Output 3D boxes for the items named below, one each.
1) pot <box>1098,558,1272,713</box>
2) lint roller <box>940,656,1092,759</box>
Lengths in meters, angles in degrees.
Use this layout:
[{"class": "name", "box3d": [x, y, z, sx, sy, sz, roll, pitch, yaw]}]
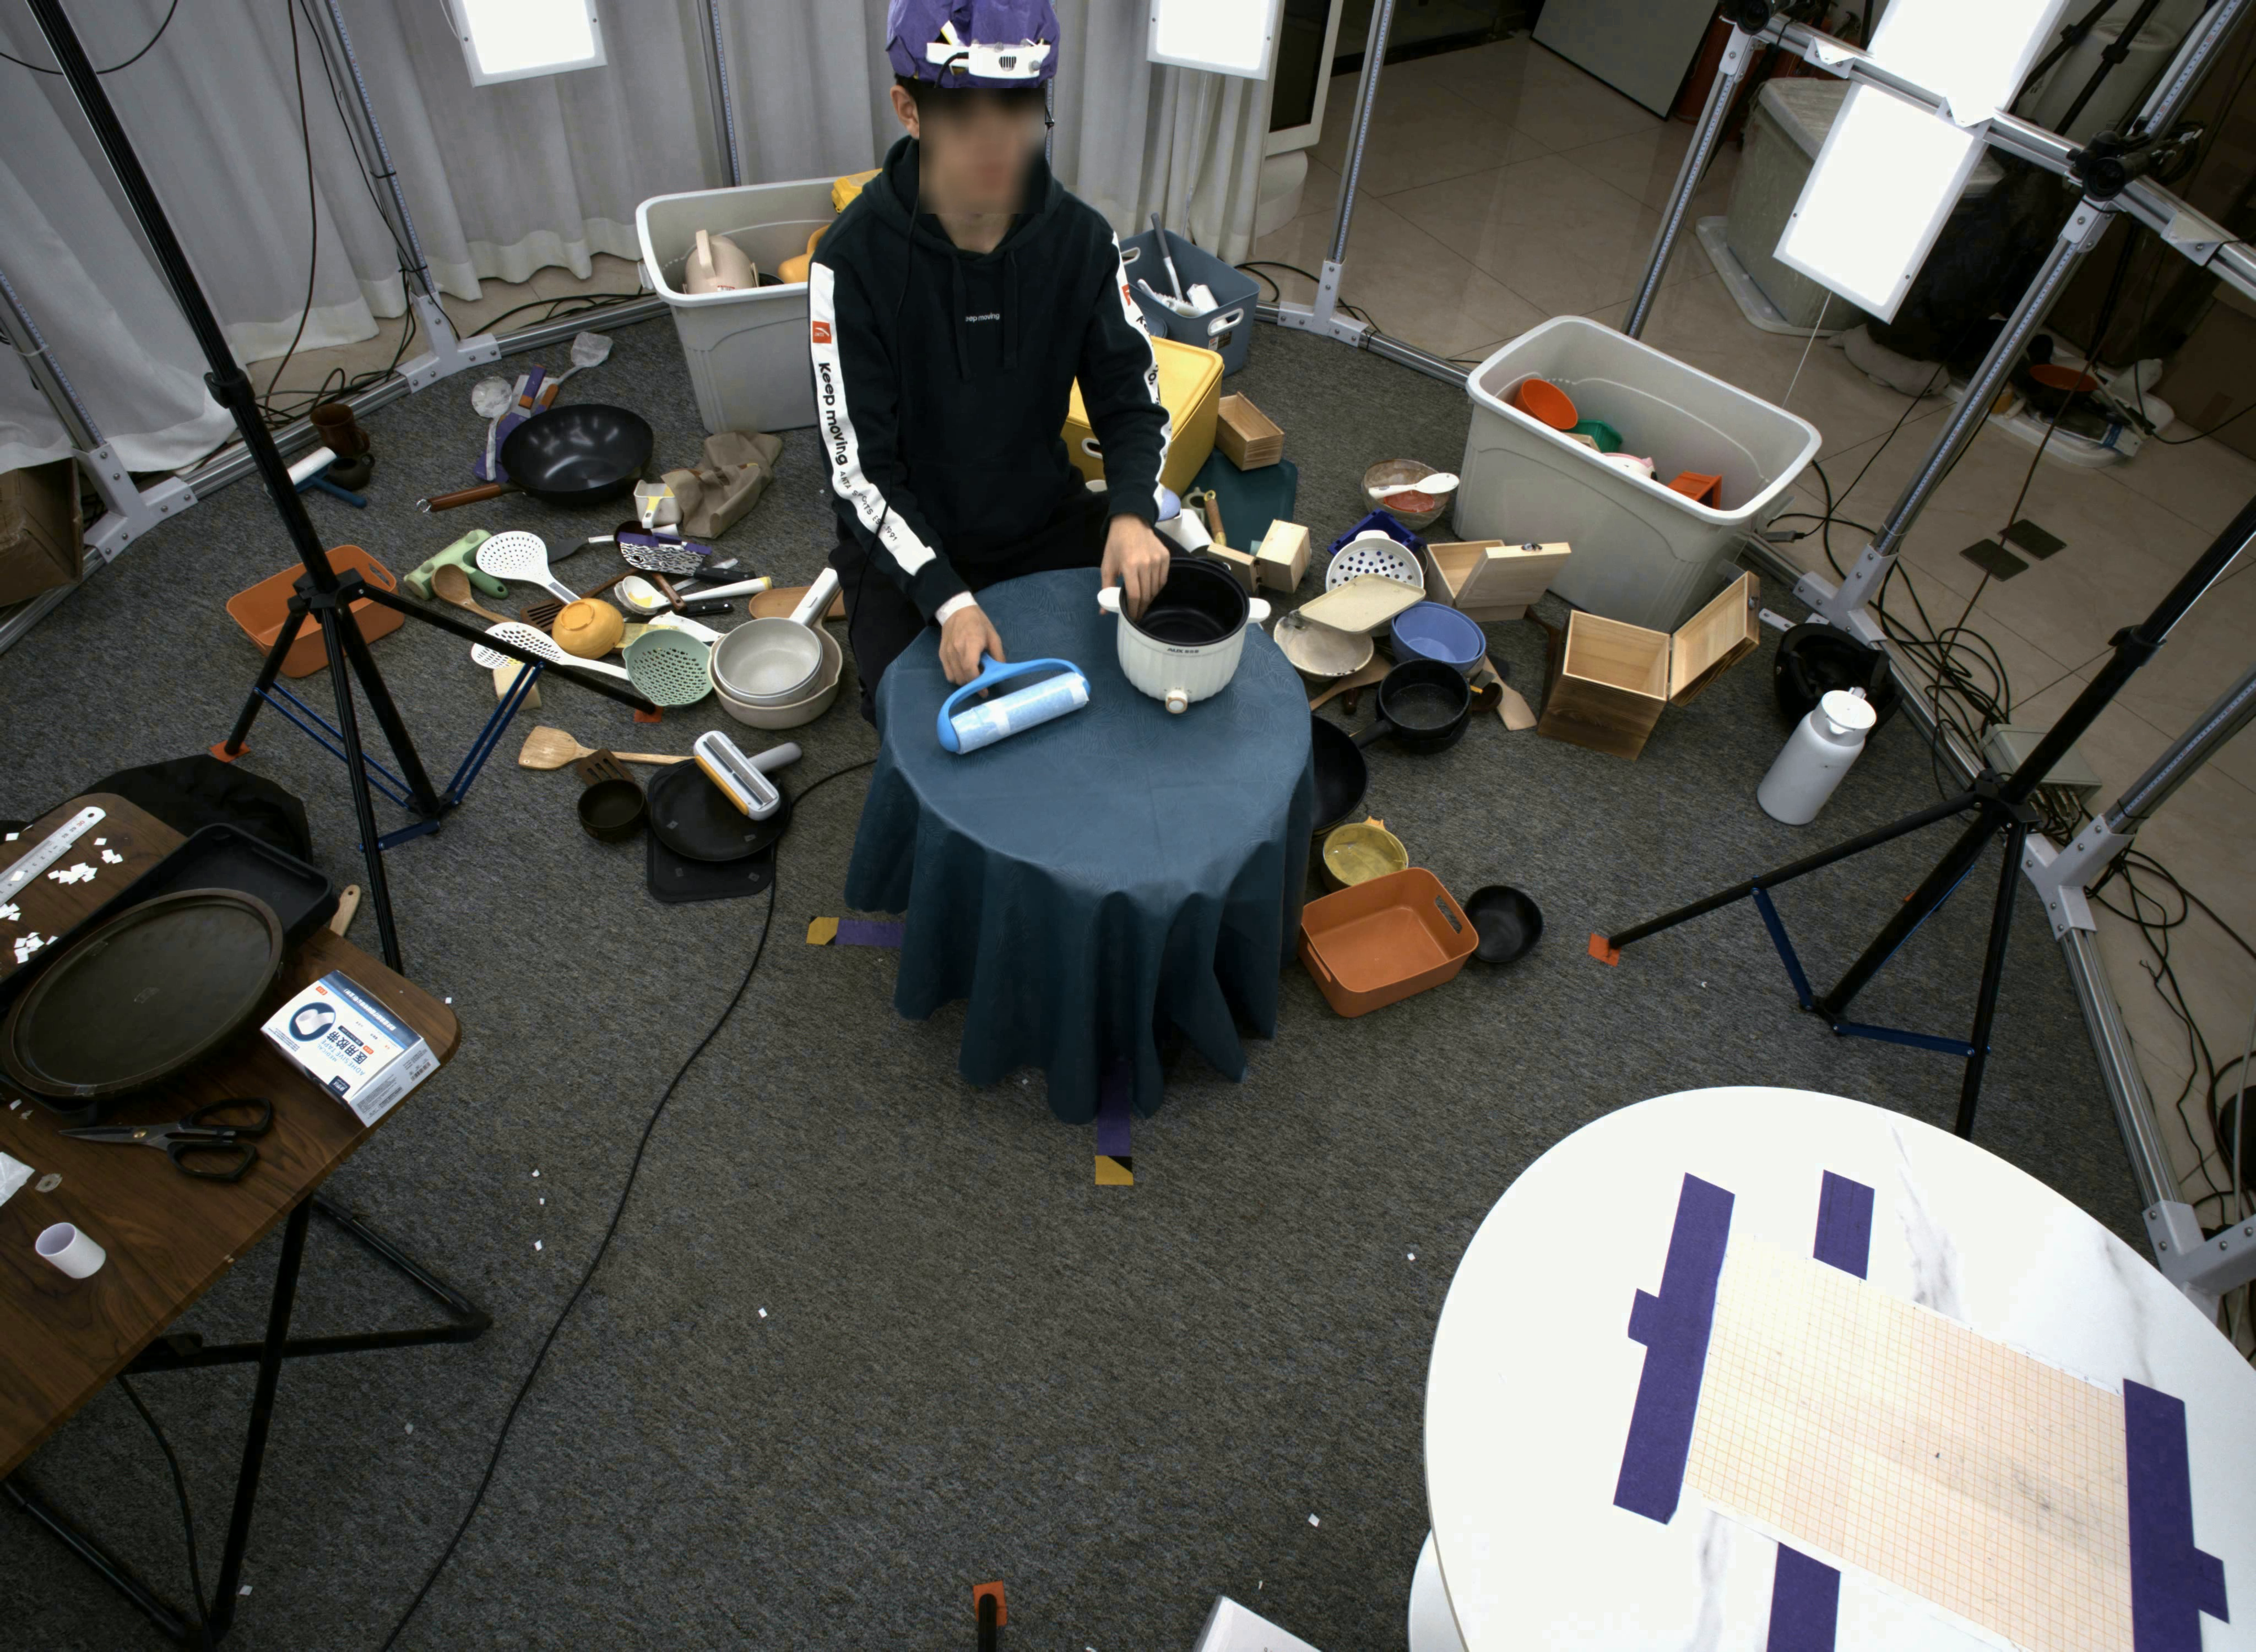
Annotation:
[{"class": "pot", "box3d": [0.076, -0.265, 1.813, 0.240, 0.139, 0.195, 3, 46, 0]}, {"class": "lint roller", "box3d": [-0.183, -0.193, 1.788, 0.230, 0.066, 0.184, -28, 57, -23]}]
